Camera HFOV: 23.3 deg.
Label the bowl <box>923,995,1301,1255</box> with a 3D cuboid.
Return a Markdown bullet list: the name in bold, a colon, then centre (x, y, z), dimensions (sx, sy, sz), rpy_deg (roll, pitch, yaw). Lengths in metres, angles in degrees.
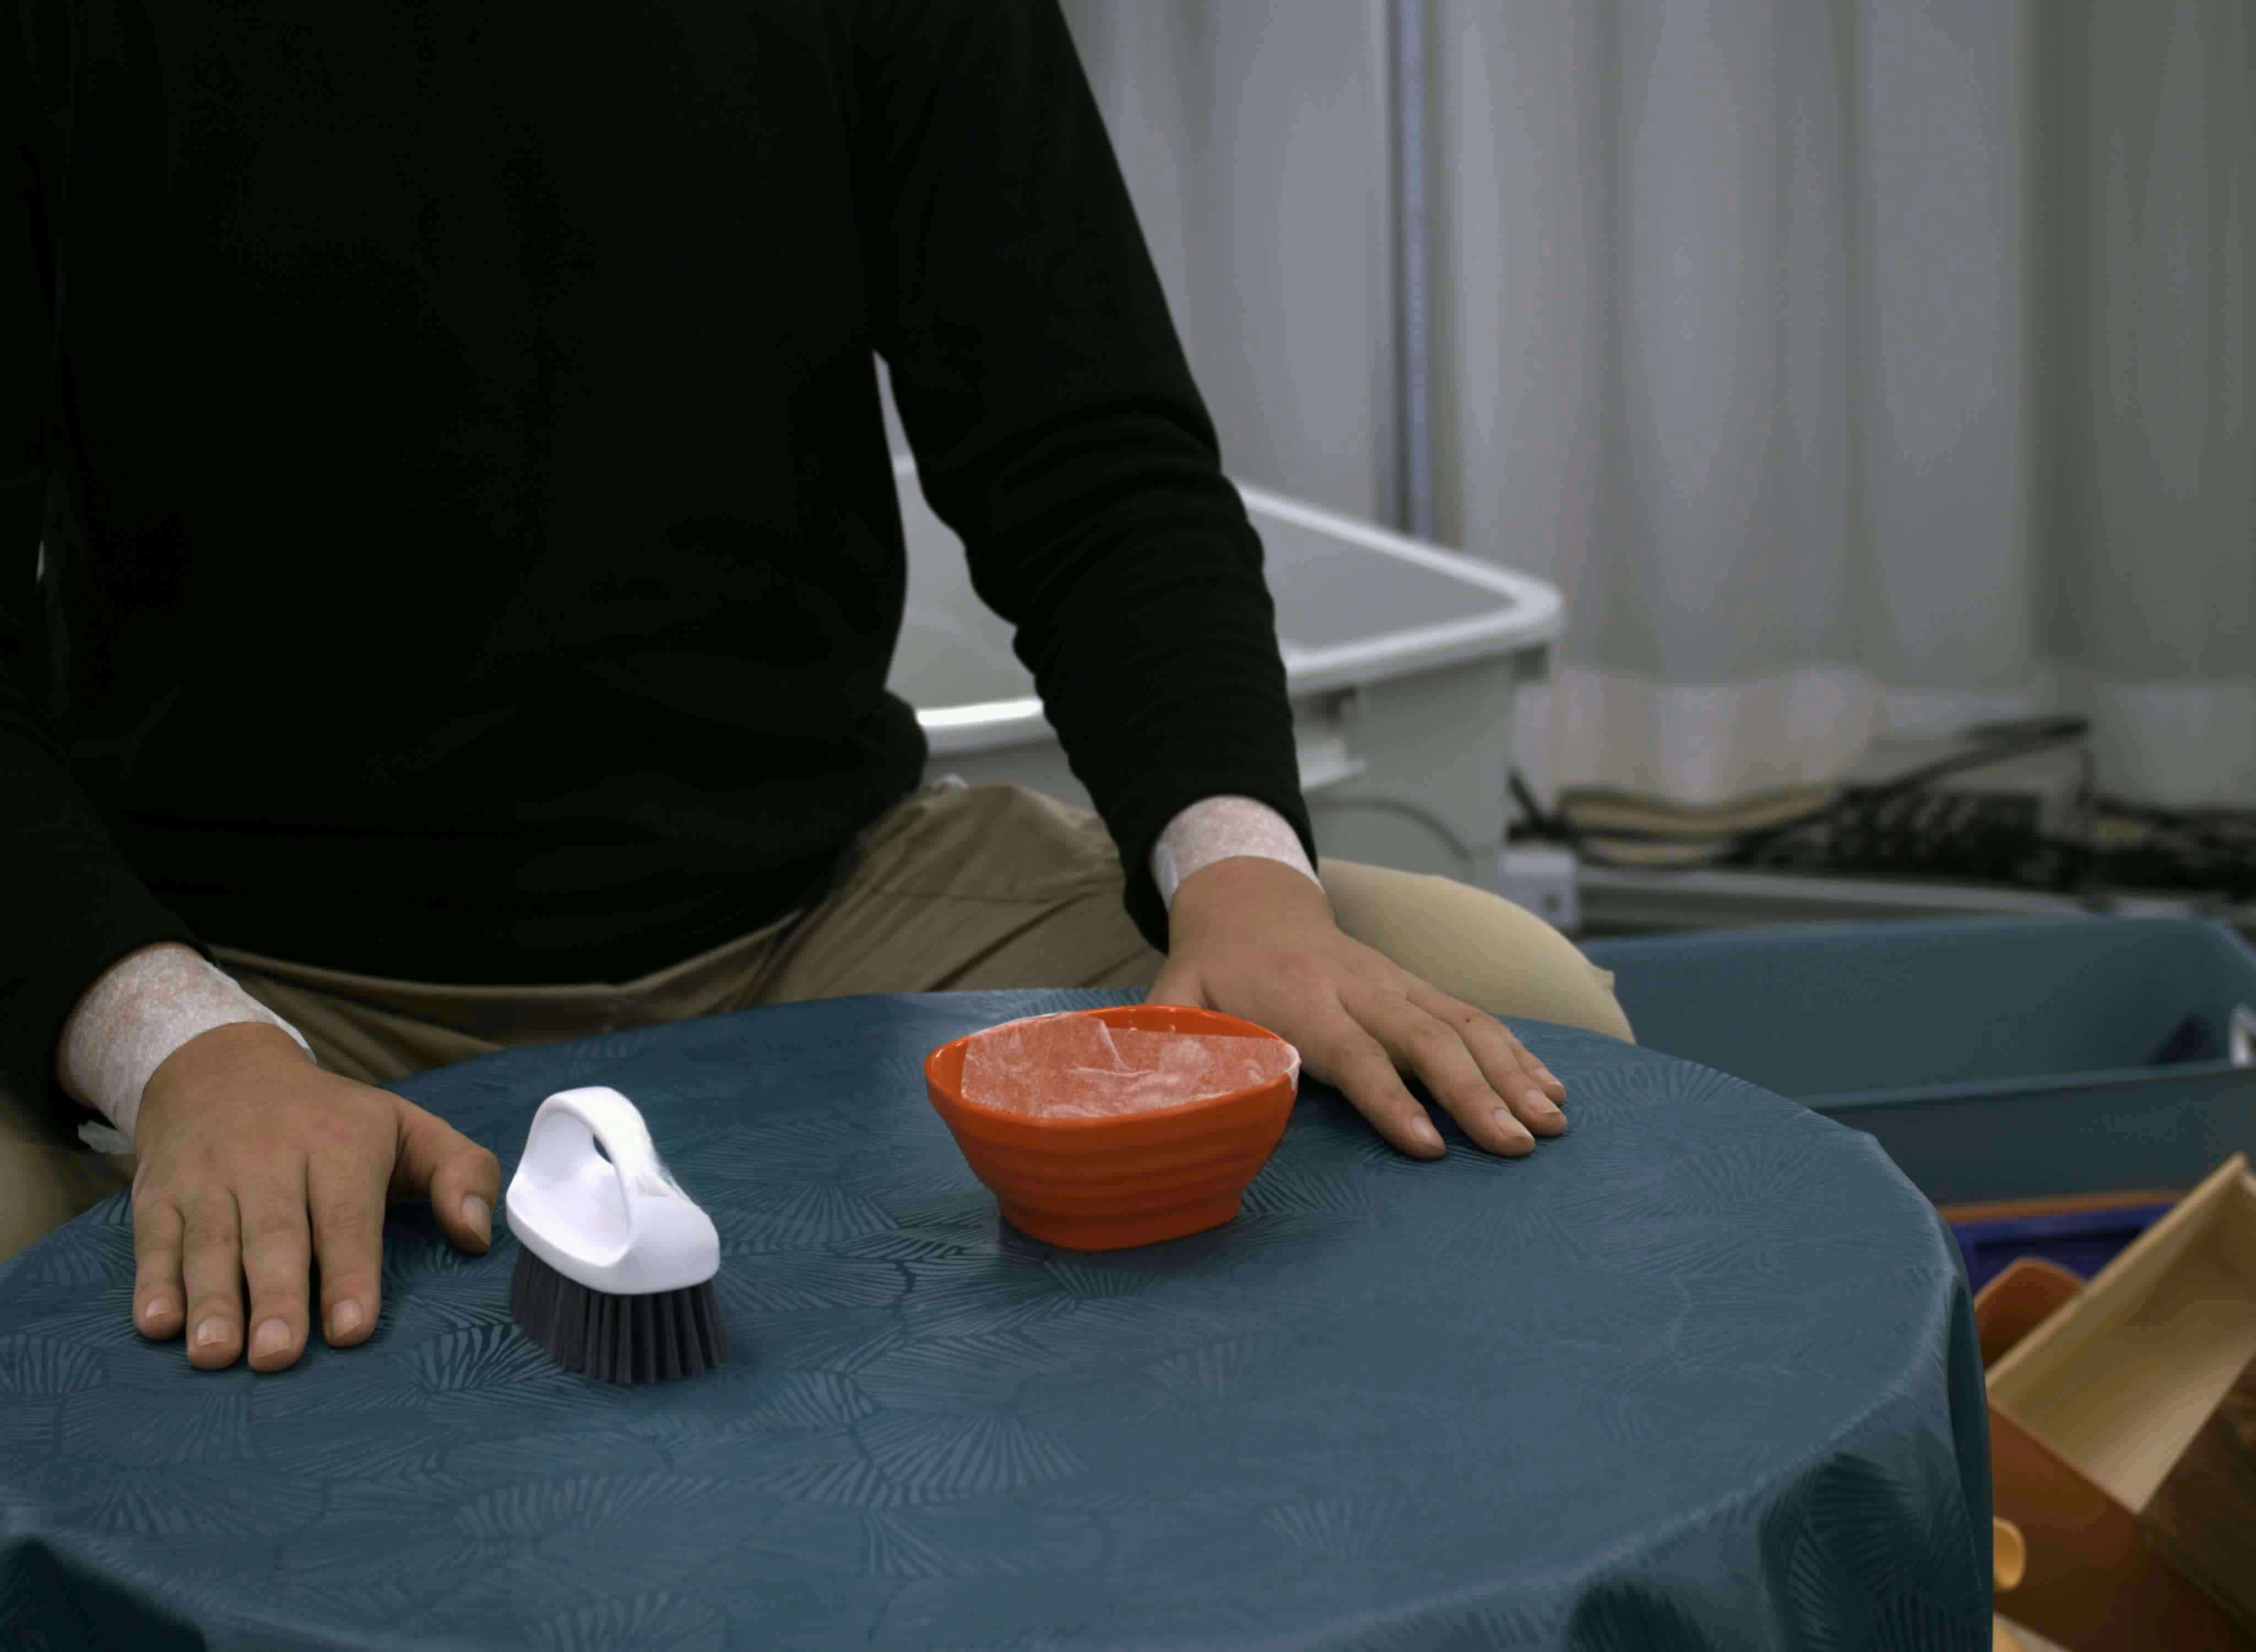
- **bowl**: centre (-0.004, 0.095, 1.689), dimensions (0.118, 0.051, 0.120), rpy_deg (-3, 17, 1)

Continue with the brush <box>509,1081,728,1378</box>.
- **brush**: centre (-0.152, 0.113, 1.606), dimensions (0.050, 0.072, 0.100), rpy_deg (-9, 15, -21)
